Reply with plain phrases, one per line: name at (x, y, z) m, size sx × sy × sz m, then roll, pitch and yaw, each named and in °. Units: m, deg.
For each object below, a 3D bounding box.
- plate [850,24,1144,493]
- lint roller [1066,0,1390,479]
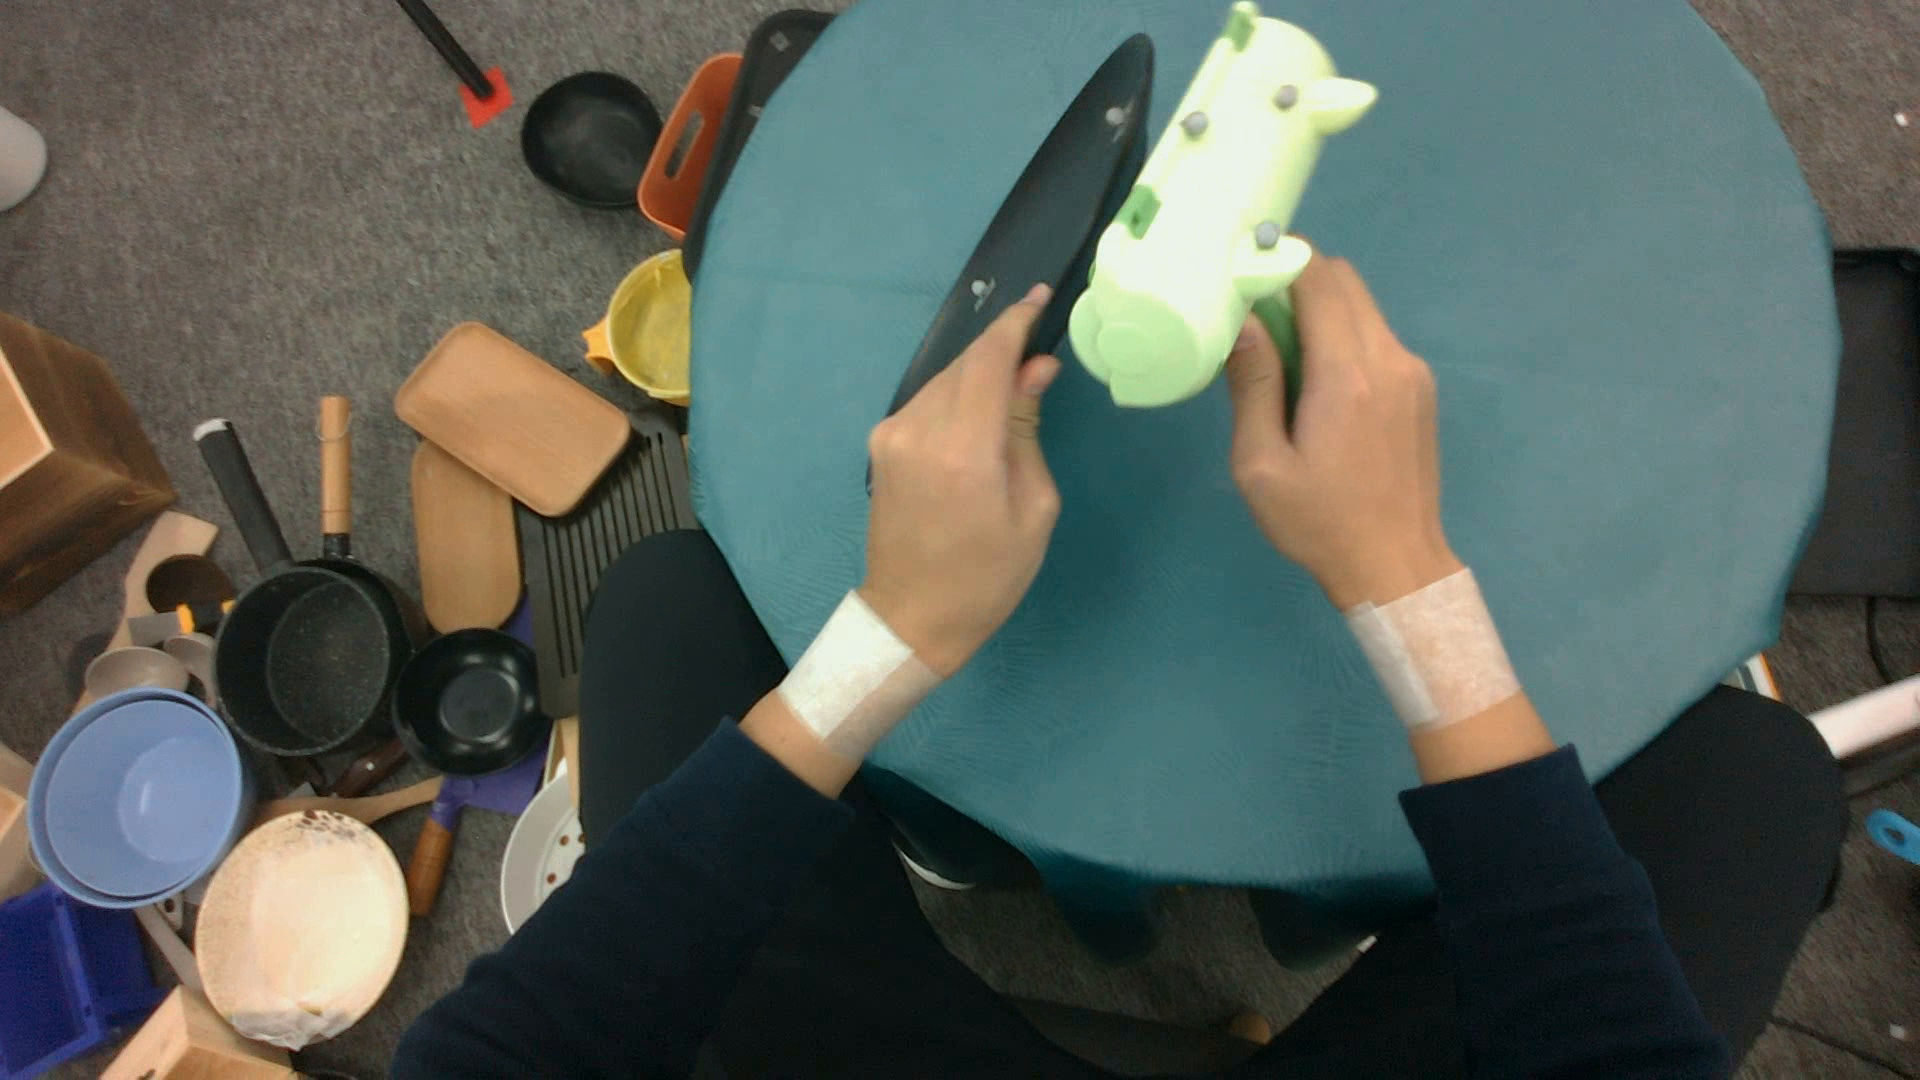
plate at (0.018, -0.126, 0.642) m, size 0.023 × 0.244 × 0.245 m, roll 28°, pitch 81°, yaw -17°
lint roller at (0.136, -0.100, 0.533) m, size 0.183 × 0.082 × 0.199 m, roll 47°, pitch 49°, yaw -18°
